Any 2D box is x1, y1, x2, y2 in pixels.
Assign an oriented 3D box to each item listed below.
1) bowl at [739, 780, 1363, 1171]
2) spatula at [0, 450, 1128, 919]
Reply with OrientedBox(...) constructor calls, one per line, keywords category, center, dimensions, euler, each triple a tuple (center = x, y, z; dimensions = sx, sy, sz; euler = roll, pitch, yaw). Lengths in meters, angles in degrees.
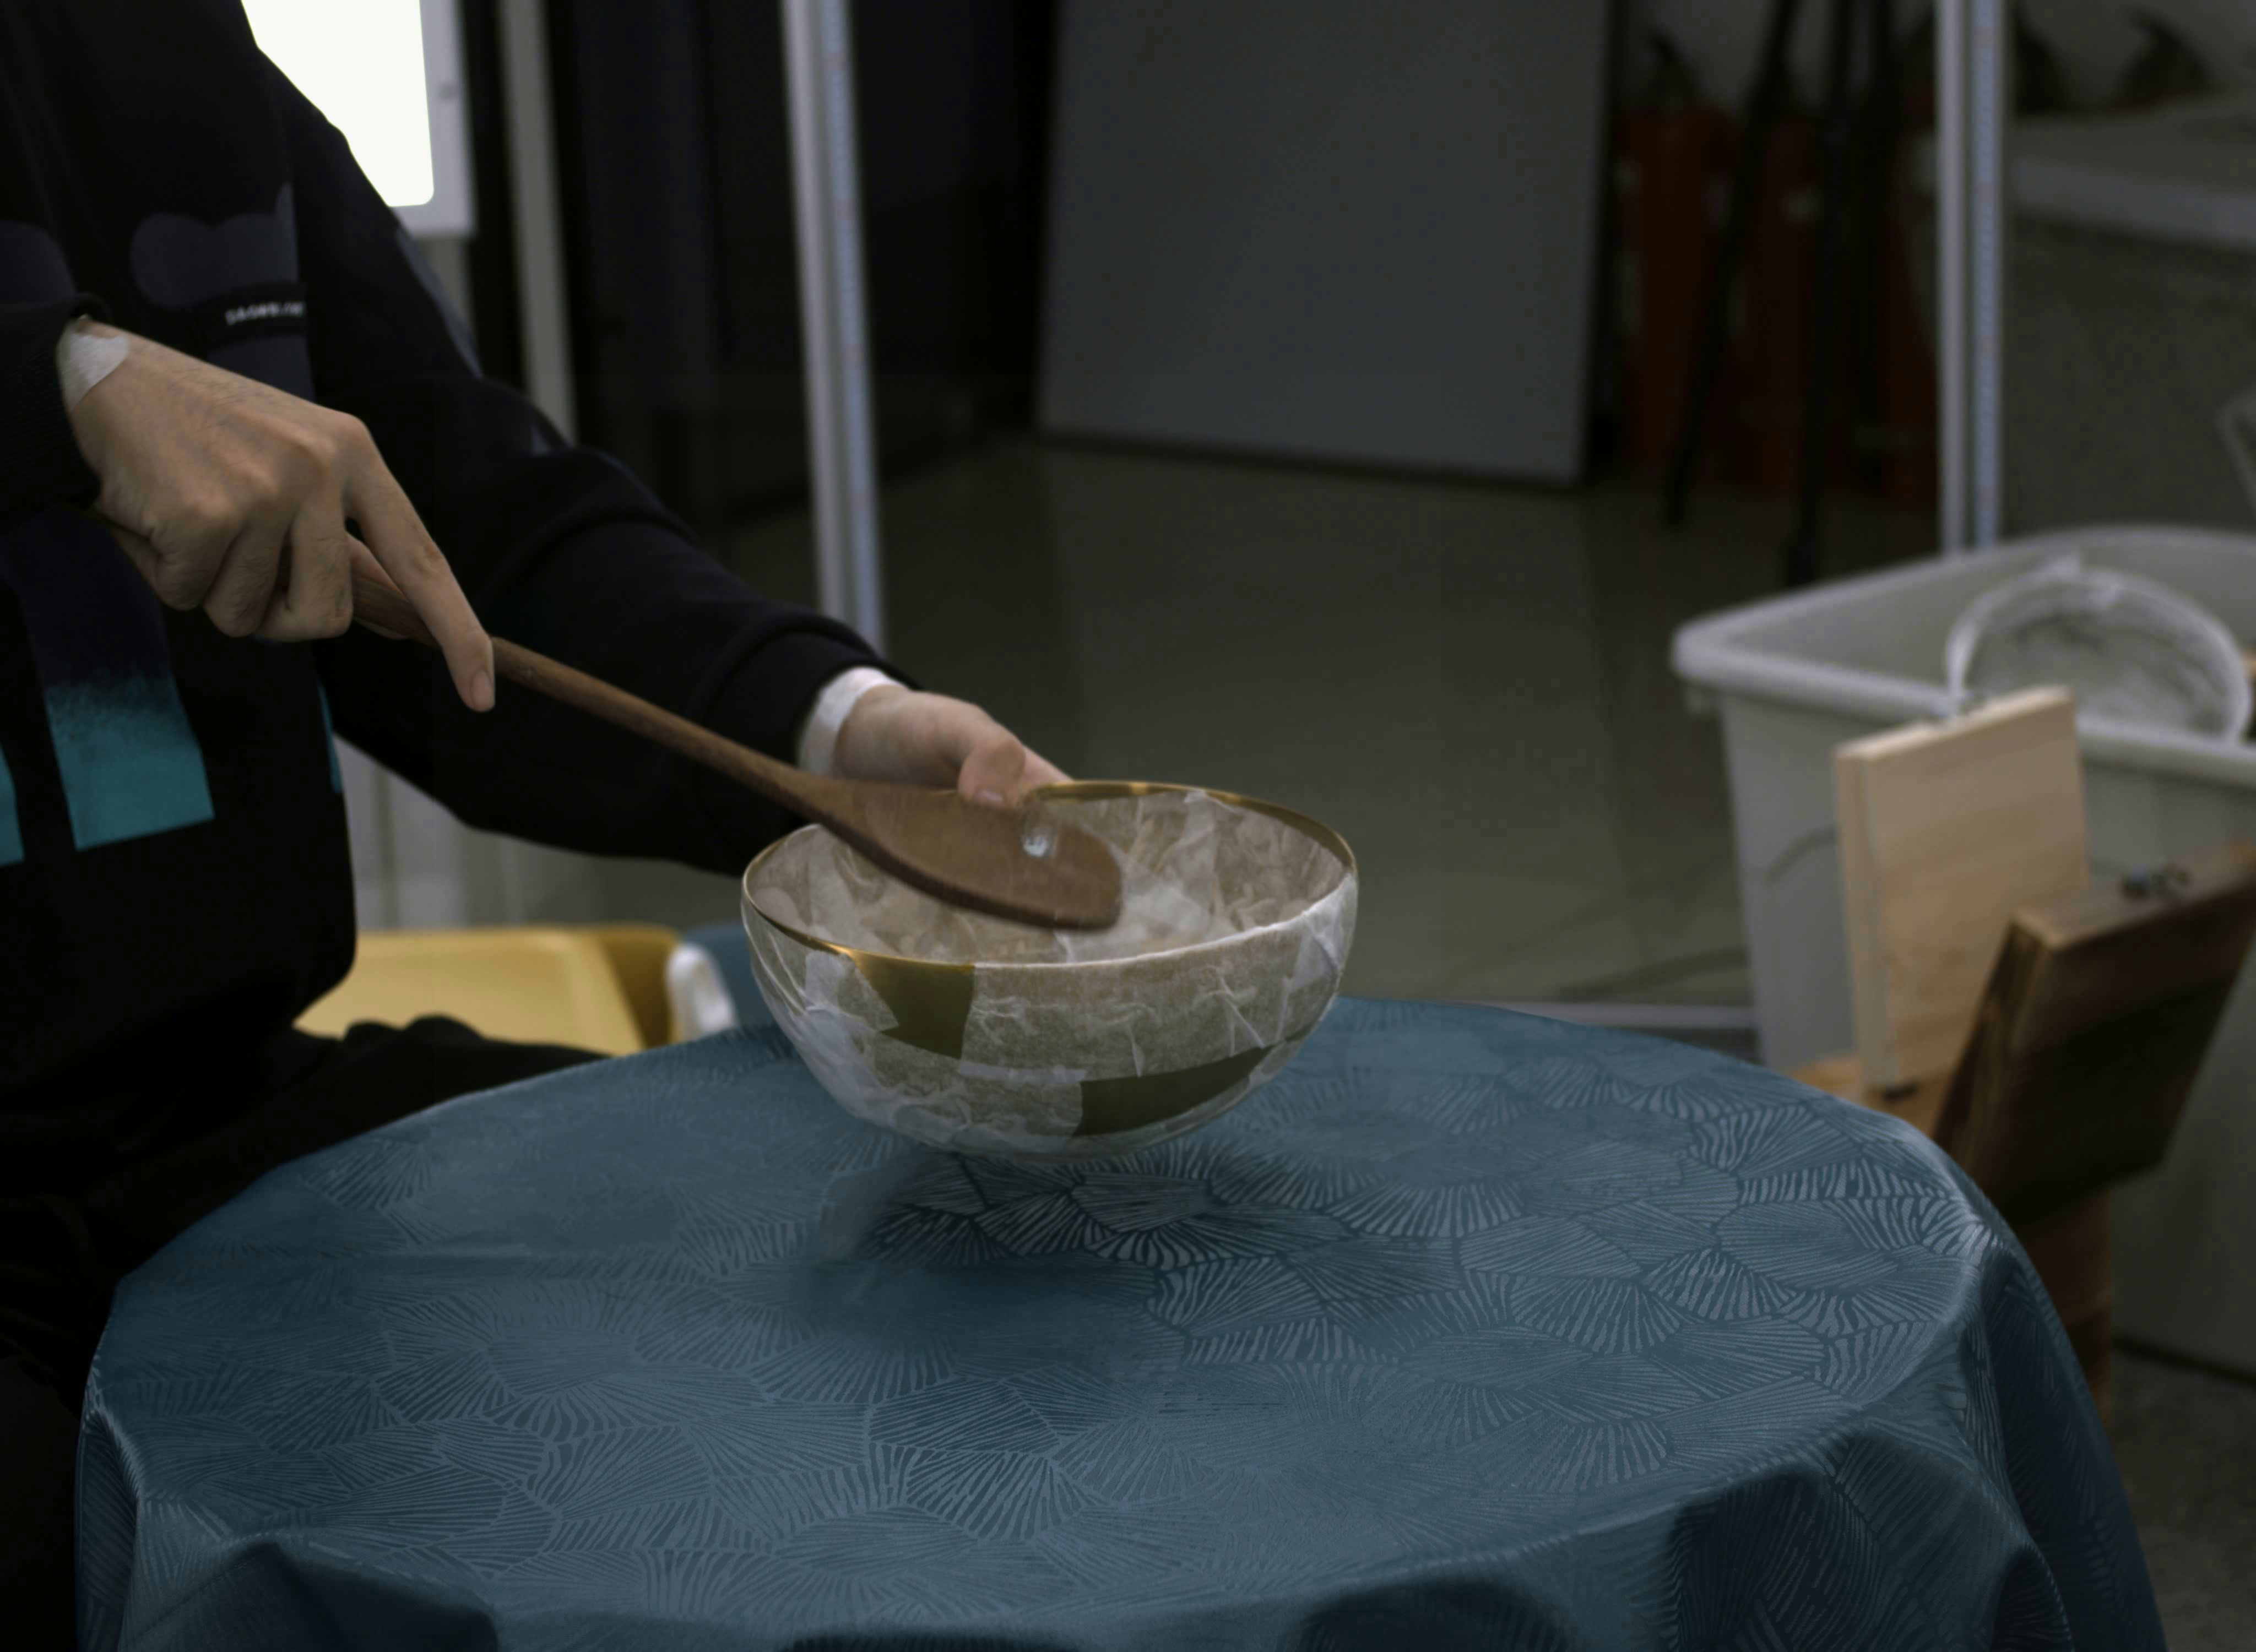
OrientedBox(category="bowl", center=(-0.022, 0.055, 1.745), dimensions=(0.212, 0.095, 0.215), euler=(-5, 16, 0))
OrientedBox(category="spatula", center=(-0.177, -0.047, 1.716), dimensions=(0.381, 0.016, 0.096), euler=(22, 18, -5))
